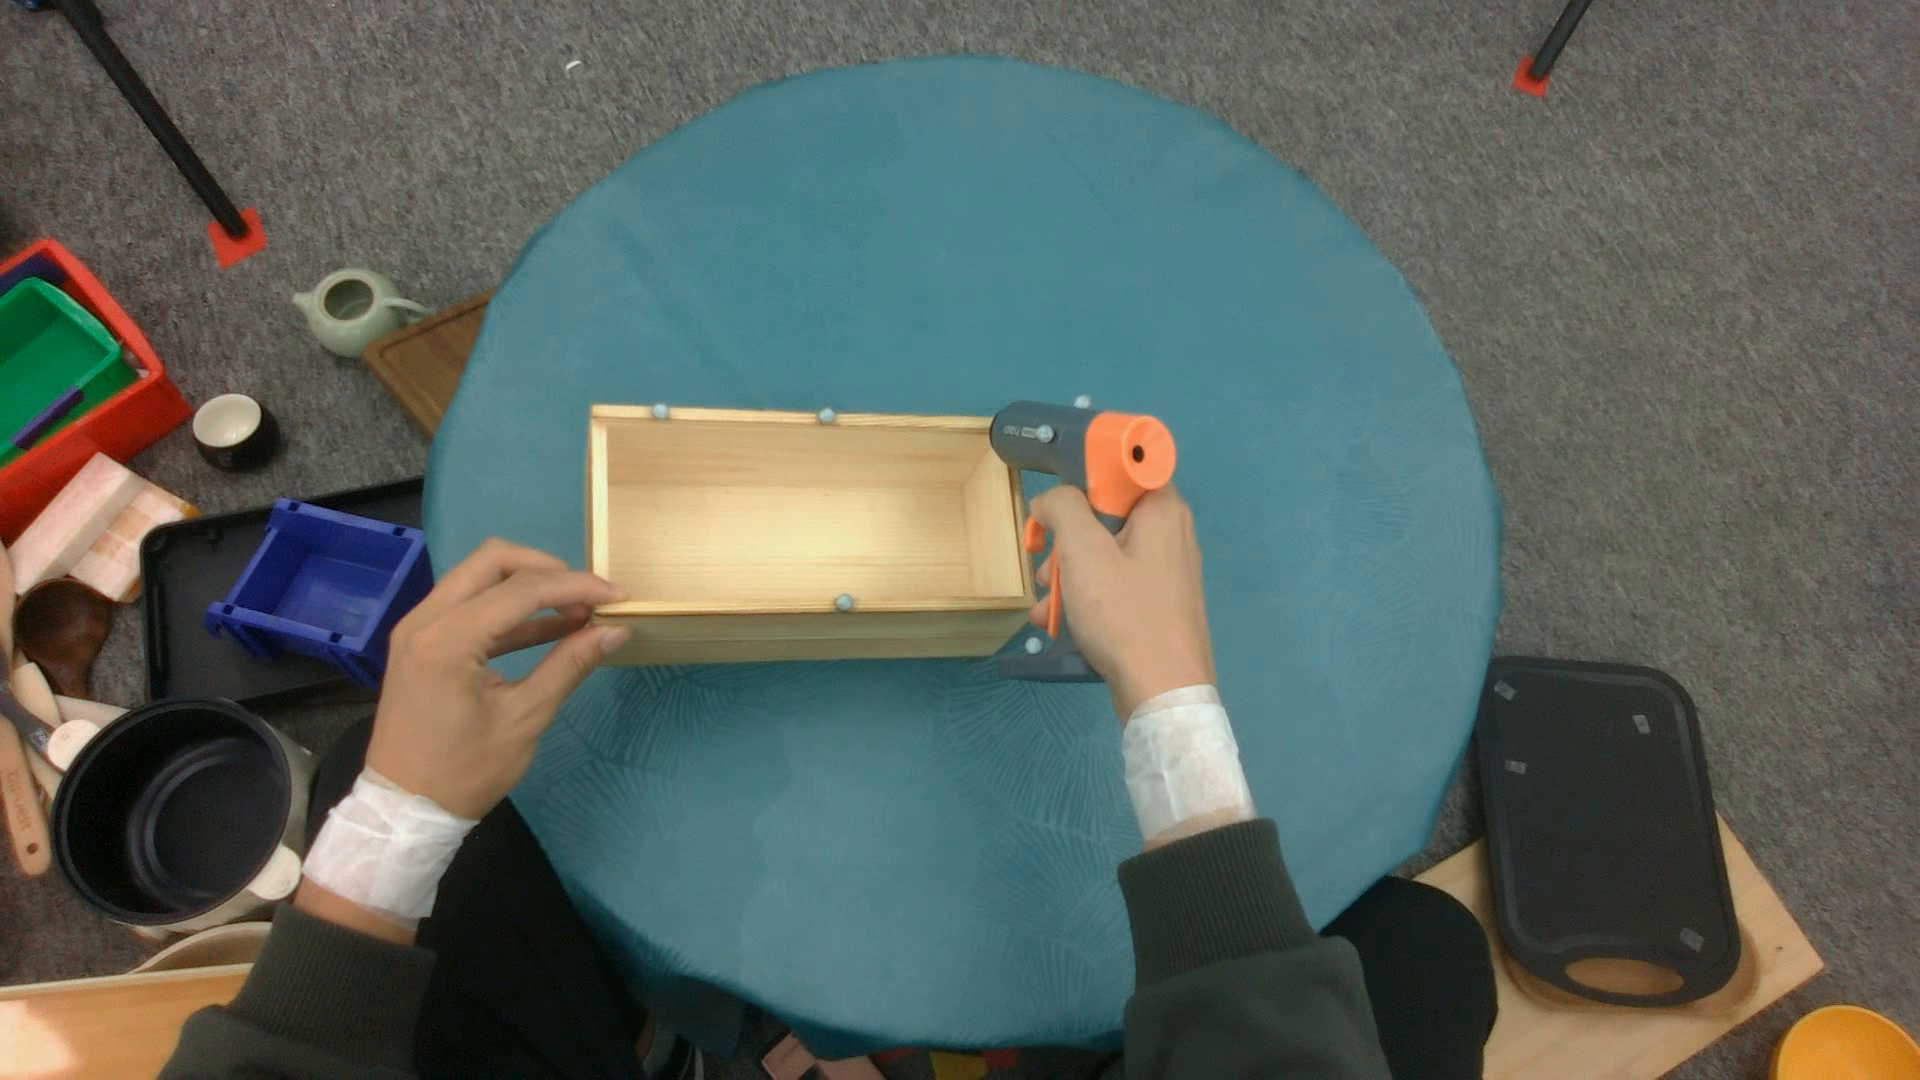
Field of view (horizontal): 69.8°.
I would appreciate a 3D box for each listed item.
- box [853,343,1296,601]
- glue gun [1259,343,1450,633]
[{"bbox_3d":[0.053,-0.032,0.704,0.211,0.080,0.108,1,72,-7],"label":"box"},{"bbox_3d":[0.171,-0.029,0.634,0.041,0.117,0.140,9,83,-21],"label":"glue gun"}]
